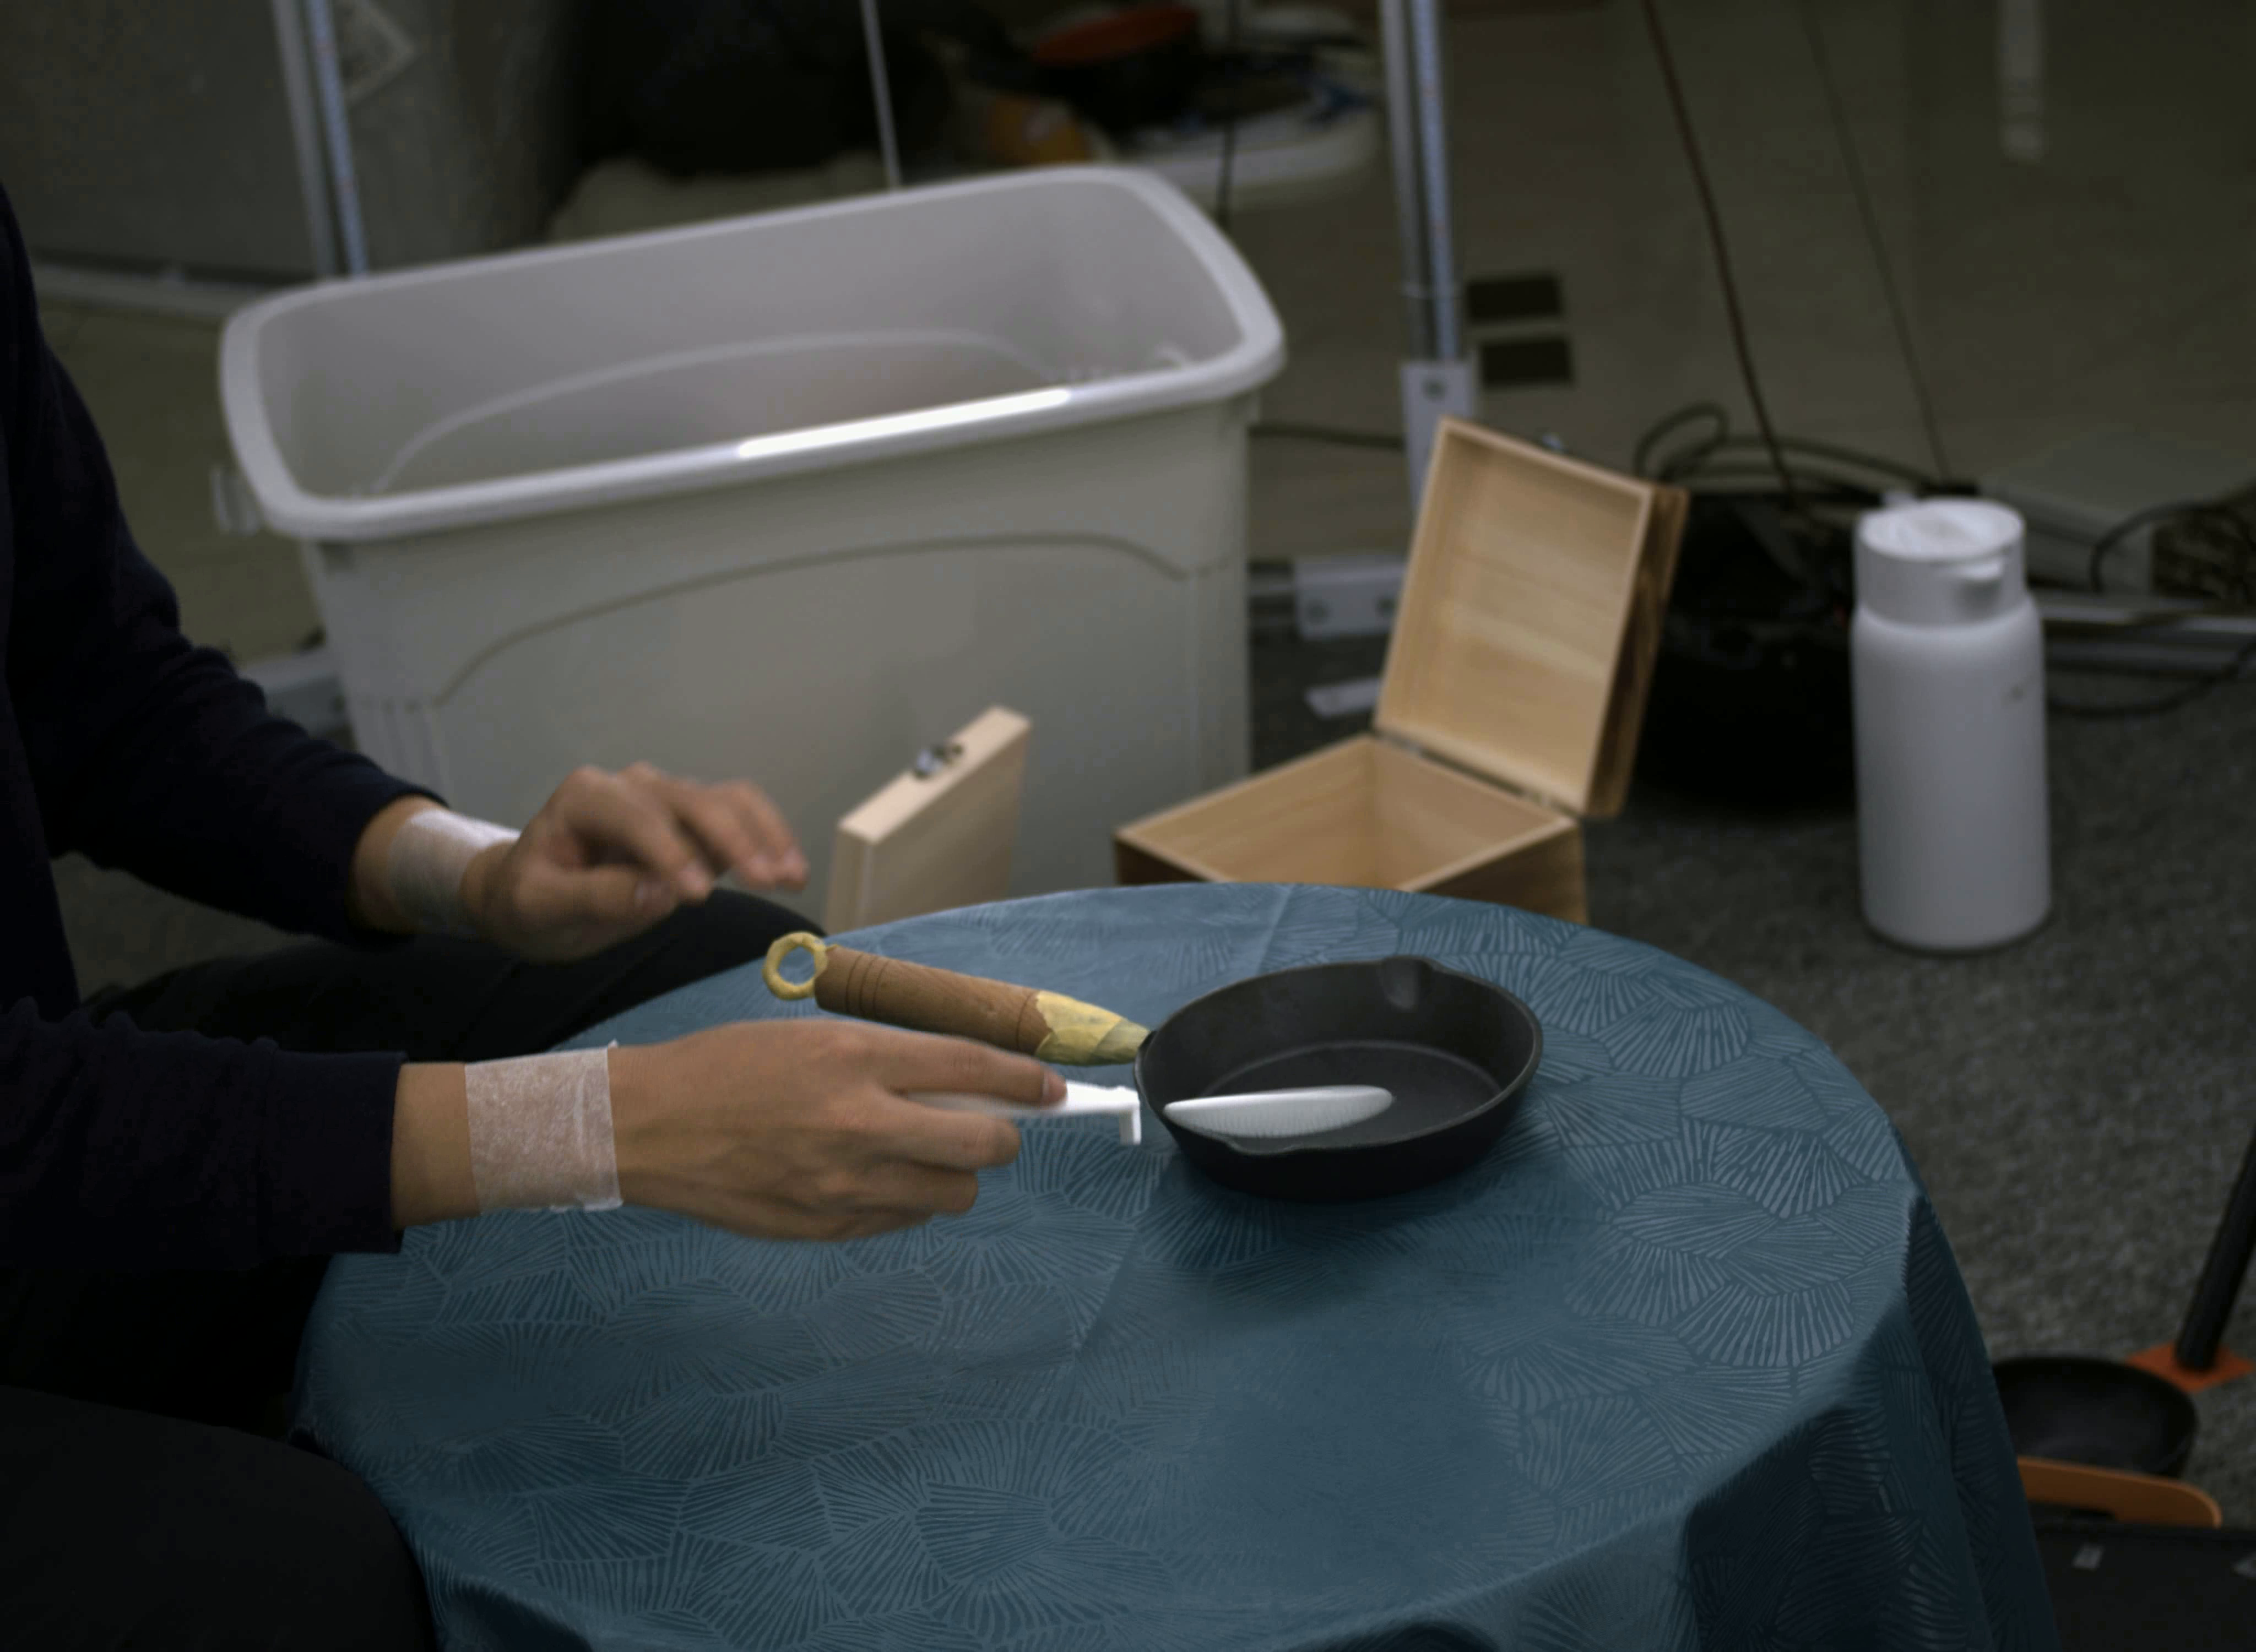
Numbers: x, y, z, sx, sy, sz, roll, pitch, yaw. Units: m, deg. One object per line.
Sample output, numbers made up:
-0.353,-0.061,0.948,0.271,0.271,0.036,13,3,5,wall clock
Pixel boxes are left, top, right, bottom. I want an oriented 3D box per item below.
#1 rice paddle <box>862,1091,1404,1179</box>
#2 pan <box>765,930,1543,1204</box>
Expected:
0.005,0.104,2.040,0.205,0.029,0.068,-3,6,-23,rice paddle
0.005,0.084,2.203,0.323,0.050,0.167,8,29,25,pan
